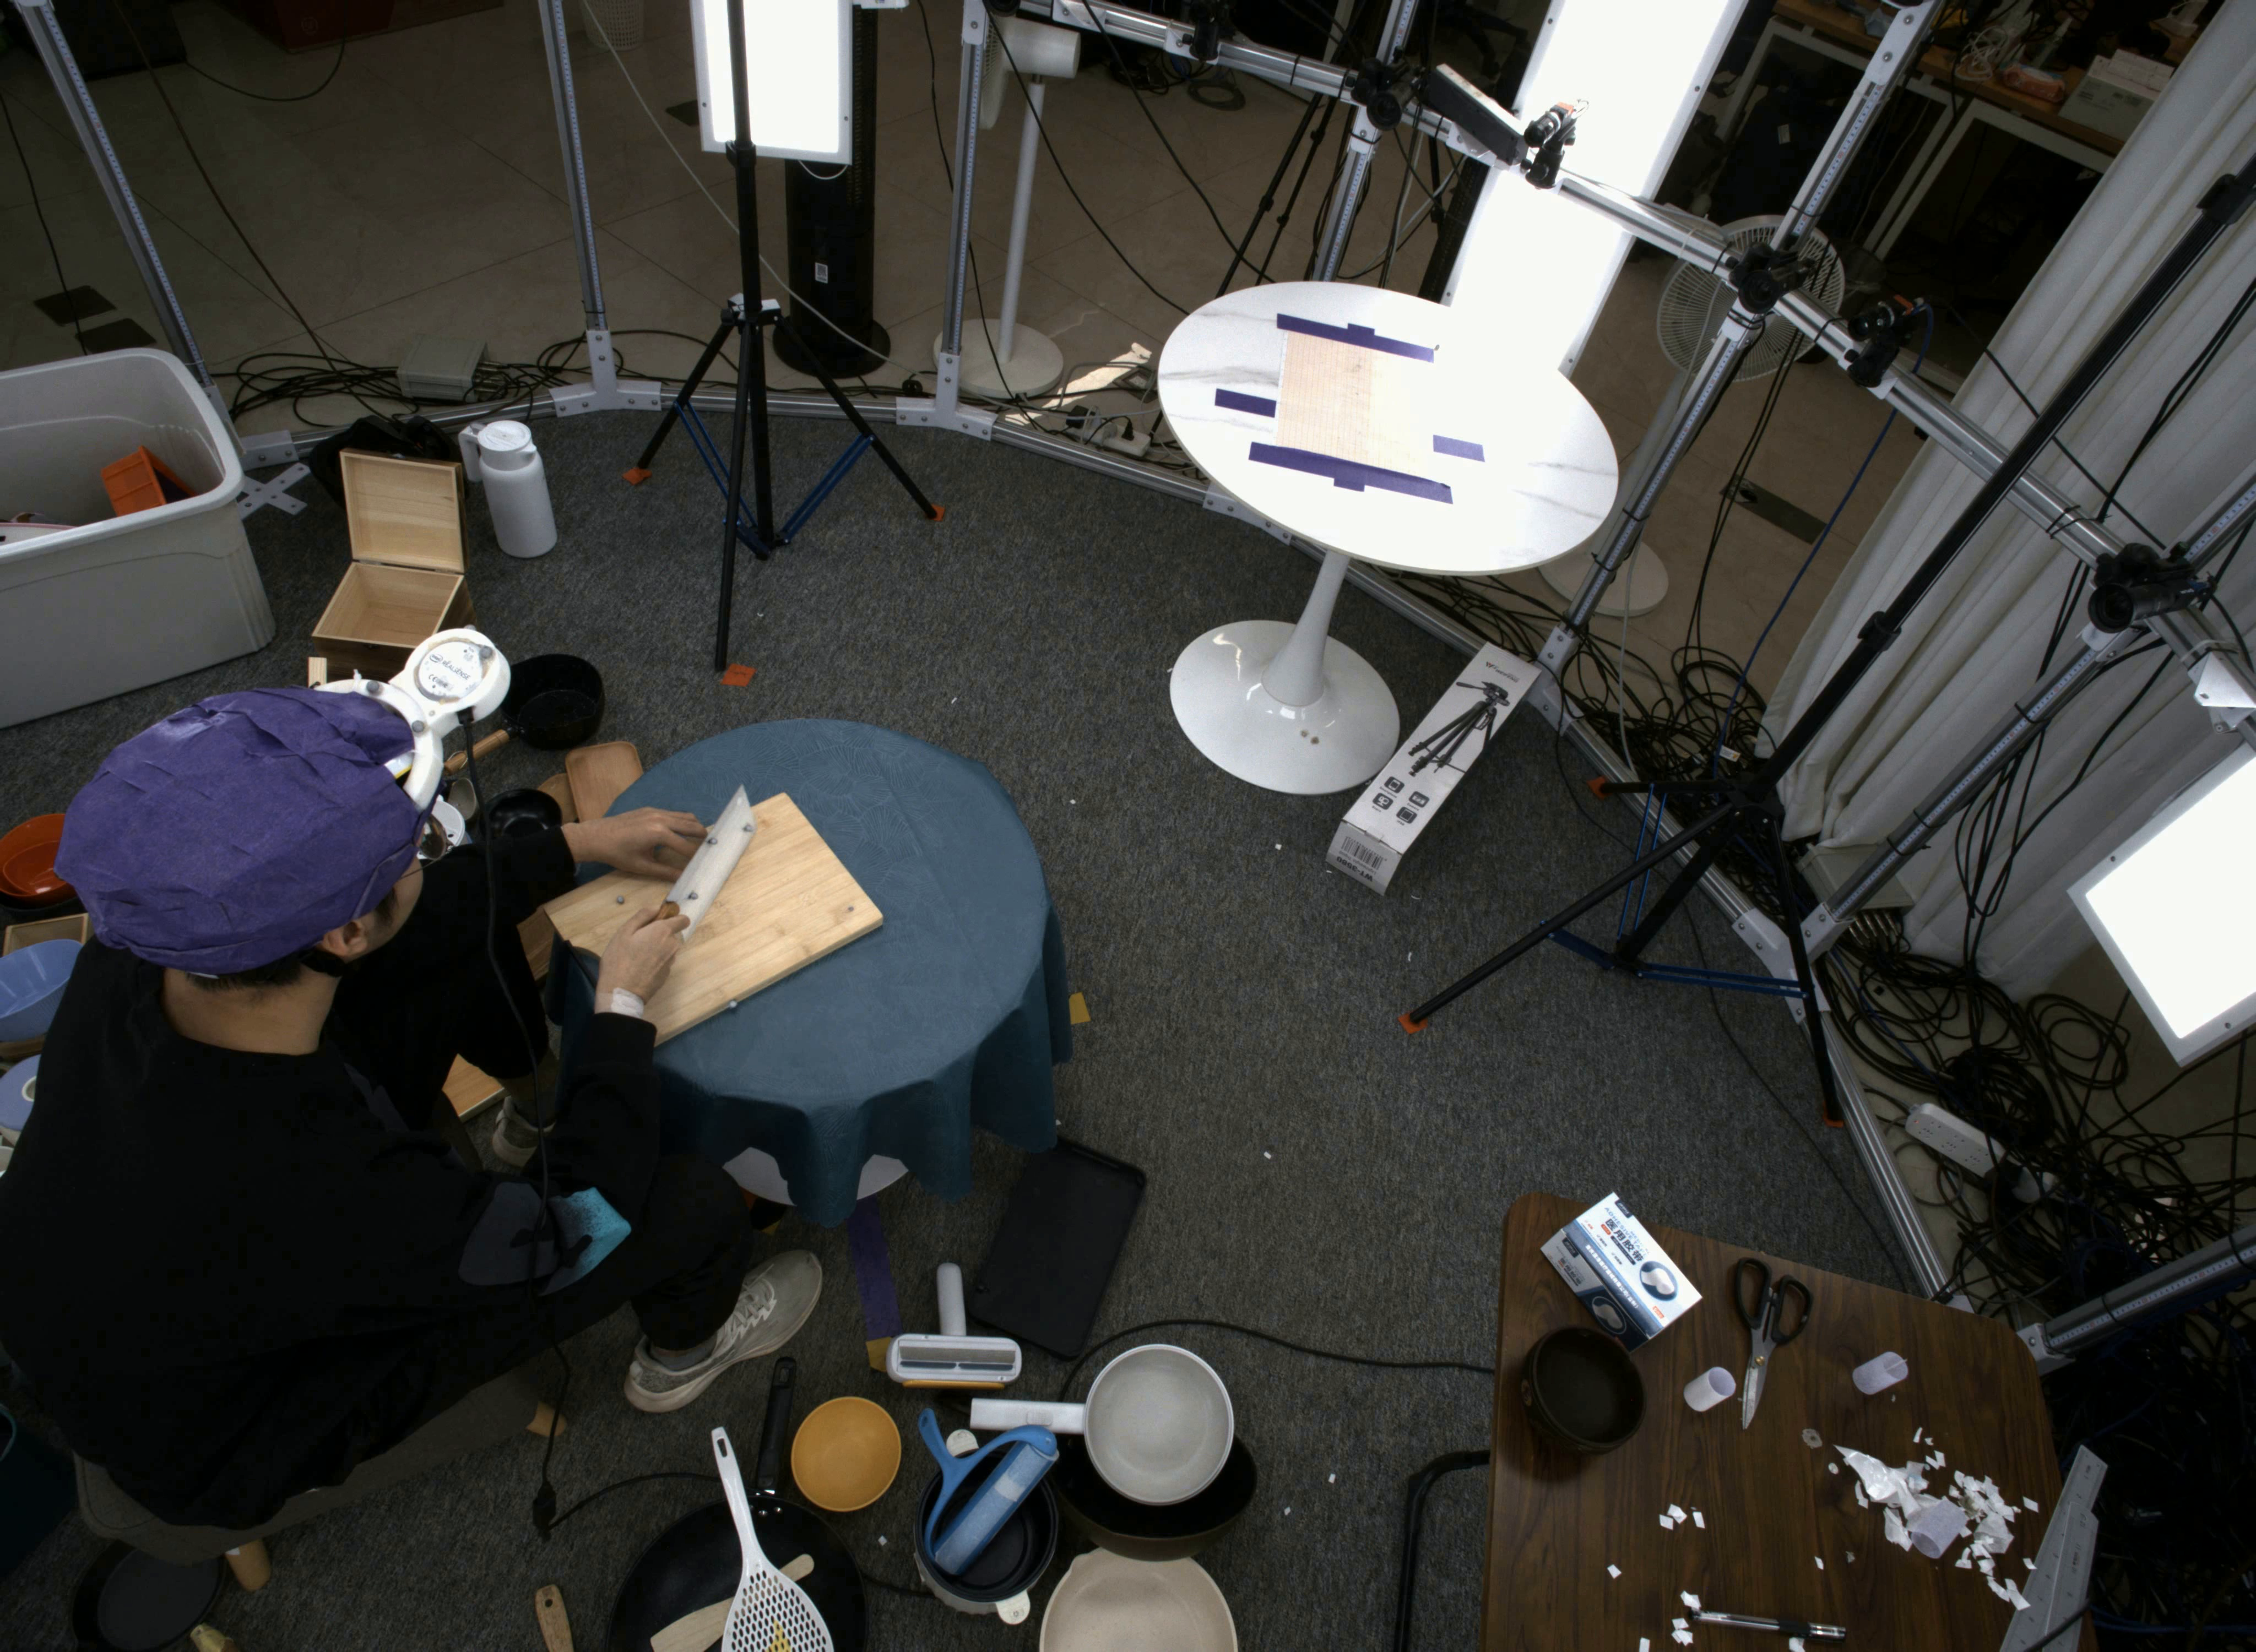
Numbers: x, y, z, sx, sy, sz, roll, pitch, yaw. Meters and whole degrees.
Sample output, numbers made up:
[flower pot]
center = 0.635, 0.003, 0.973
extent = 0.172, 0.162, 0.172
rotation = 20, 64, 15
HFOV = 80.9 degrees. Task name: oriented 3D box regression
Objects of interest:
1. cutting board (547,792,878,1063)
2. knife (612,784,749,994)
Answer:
[cutting board]
center = -0.516, 0.112, 1.594
extent = 0.350, 0.024, 0.245
rotation = -31, 67, -32
[knife]
center = -0.525, 0.083, 1.534
extent = 0.020, 0.095, 0.302
rotation = 13, 51, 10
